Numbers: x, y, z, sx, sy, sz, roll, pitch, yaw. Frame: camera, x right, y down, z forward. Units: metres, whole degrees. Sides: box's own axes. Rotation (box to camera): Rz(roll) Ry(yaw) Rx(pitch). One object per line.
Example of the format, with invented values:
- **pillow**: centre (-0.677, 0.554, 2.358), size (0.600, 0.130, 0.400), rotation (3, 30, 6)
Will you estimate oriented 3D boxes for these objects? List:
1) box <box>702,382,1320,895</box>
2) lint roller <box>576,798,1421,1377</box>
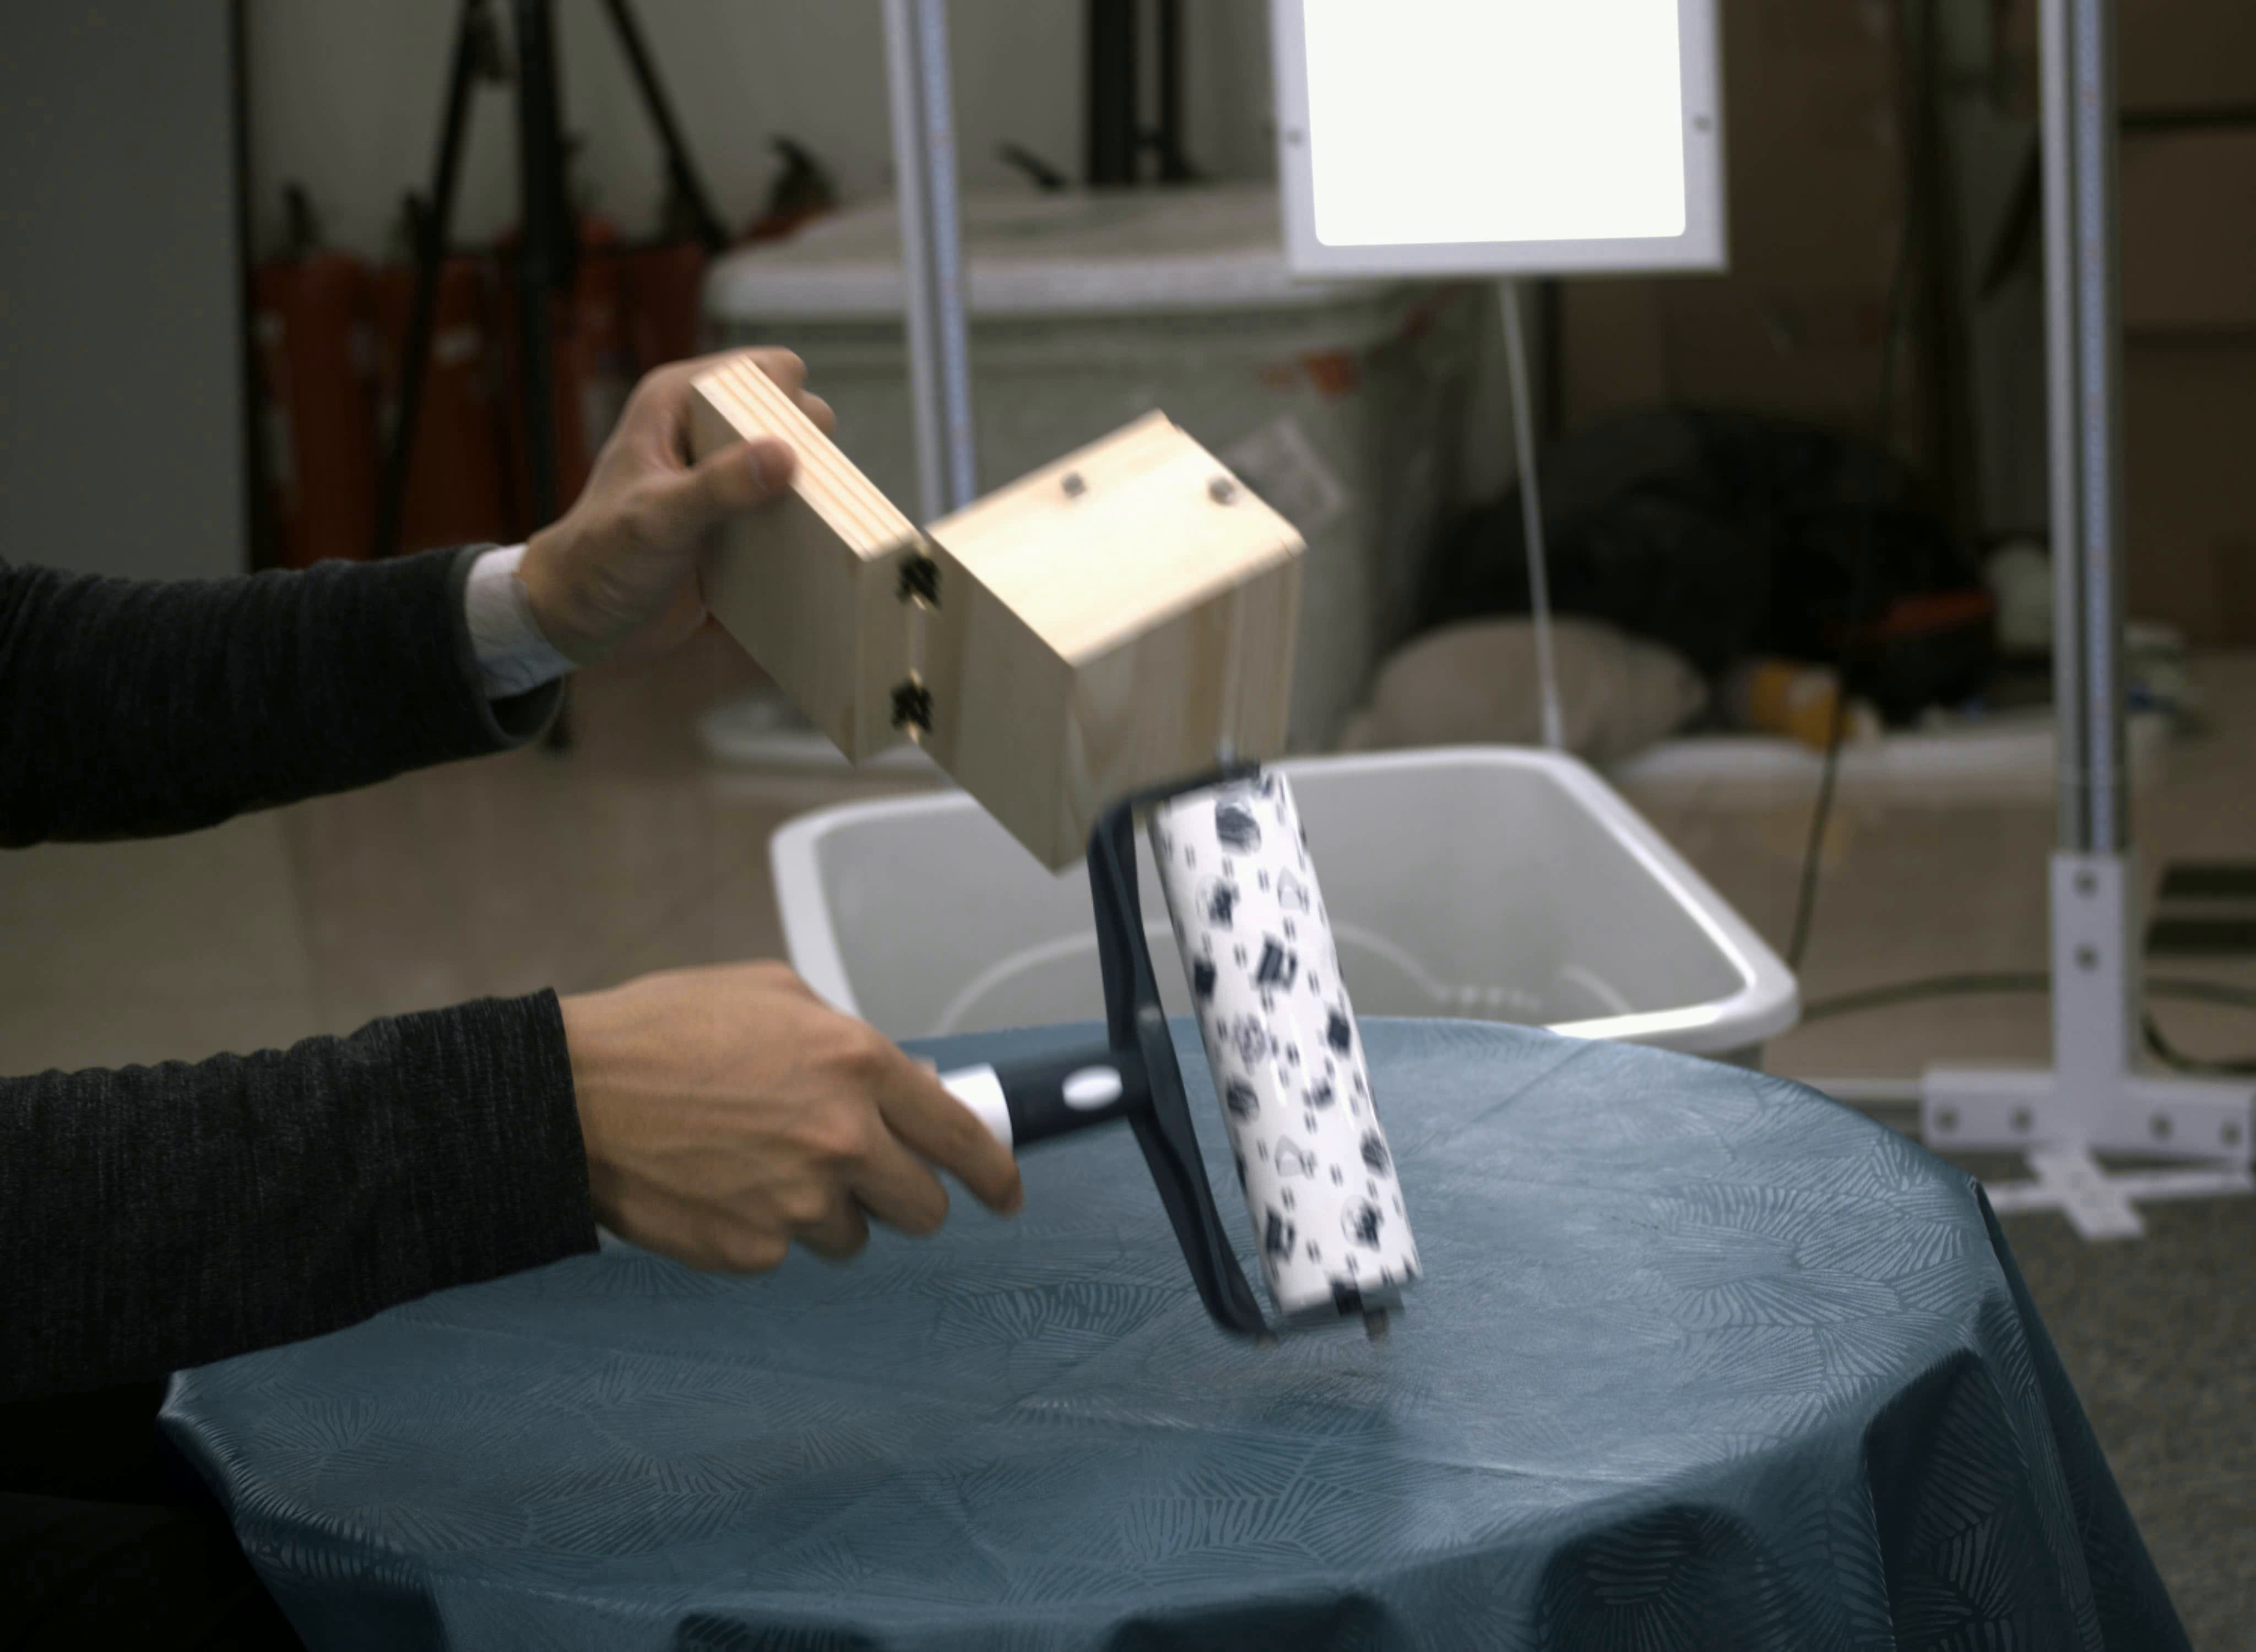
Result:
- **box**: centre (-0.042, -0.081, 1.870), size (0.131, 0.103, 0.187), rotation (-28, 54, -28)
- **lint roller**: centre (-0.045, 0.098, 1.670), size (0.243, 0.177, 0.051), rotation (-12, -14, -14)
